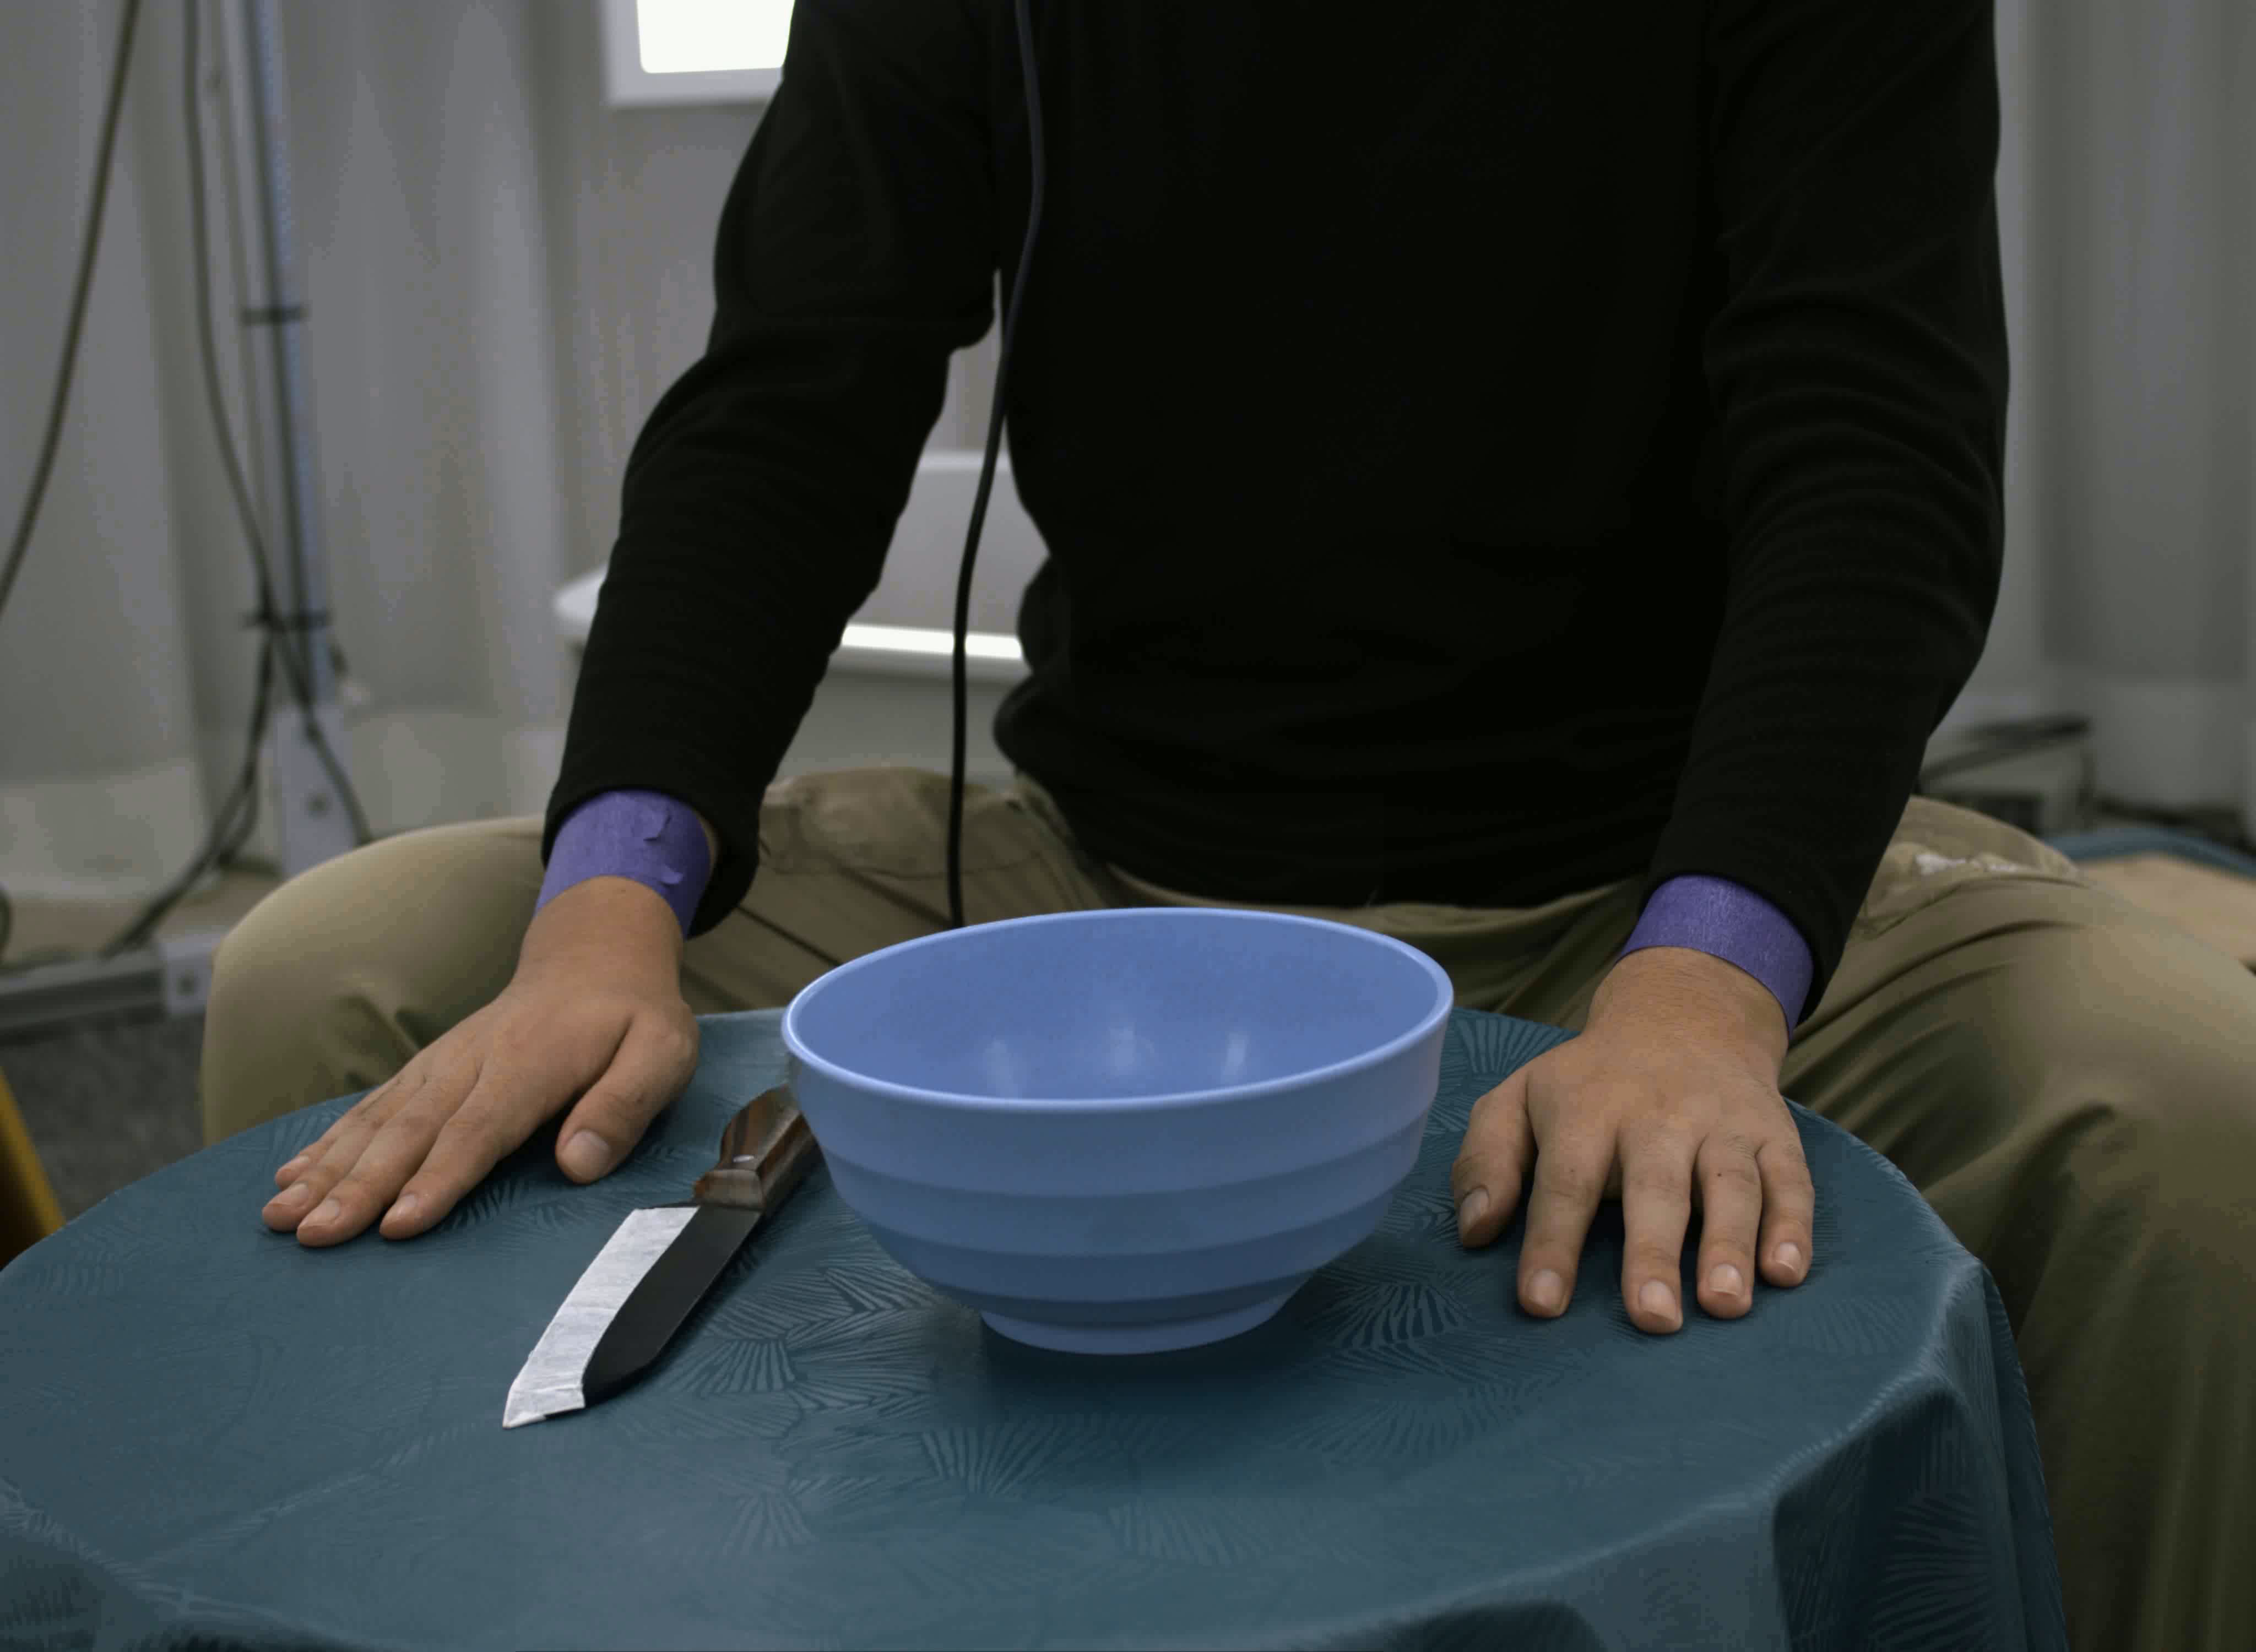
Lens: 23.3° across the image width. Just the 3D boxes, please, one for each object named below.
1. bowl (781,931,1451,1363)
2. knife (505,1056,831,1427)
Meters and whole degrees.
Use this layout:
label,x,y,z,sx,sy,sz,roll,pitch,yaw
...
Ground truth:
label,x,y,z,sx,sy,sz,roll,pitch,yaw
bowl,-0.001,0.098,1.604,0.196,0.095,0.197,-3,12,0
knife,-0.134,0.126,1.671,0.050,0.020,0.290,-3,17,16
